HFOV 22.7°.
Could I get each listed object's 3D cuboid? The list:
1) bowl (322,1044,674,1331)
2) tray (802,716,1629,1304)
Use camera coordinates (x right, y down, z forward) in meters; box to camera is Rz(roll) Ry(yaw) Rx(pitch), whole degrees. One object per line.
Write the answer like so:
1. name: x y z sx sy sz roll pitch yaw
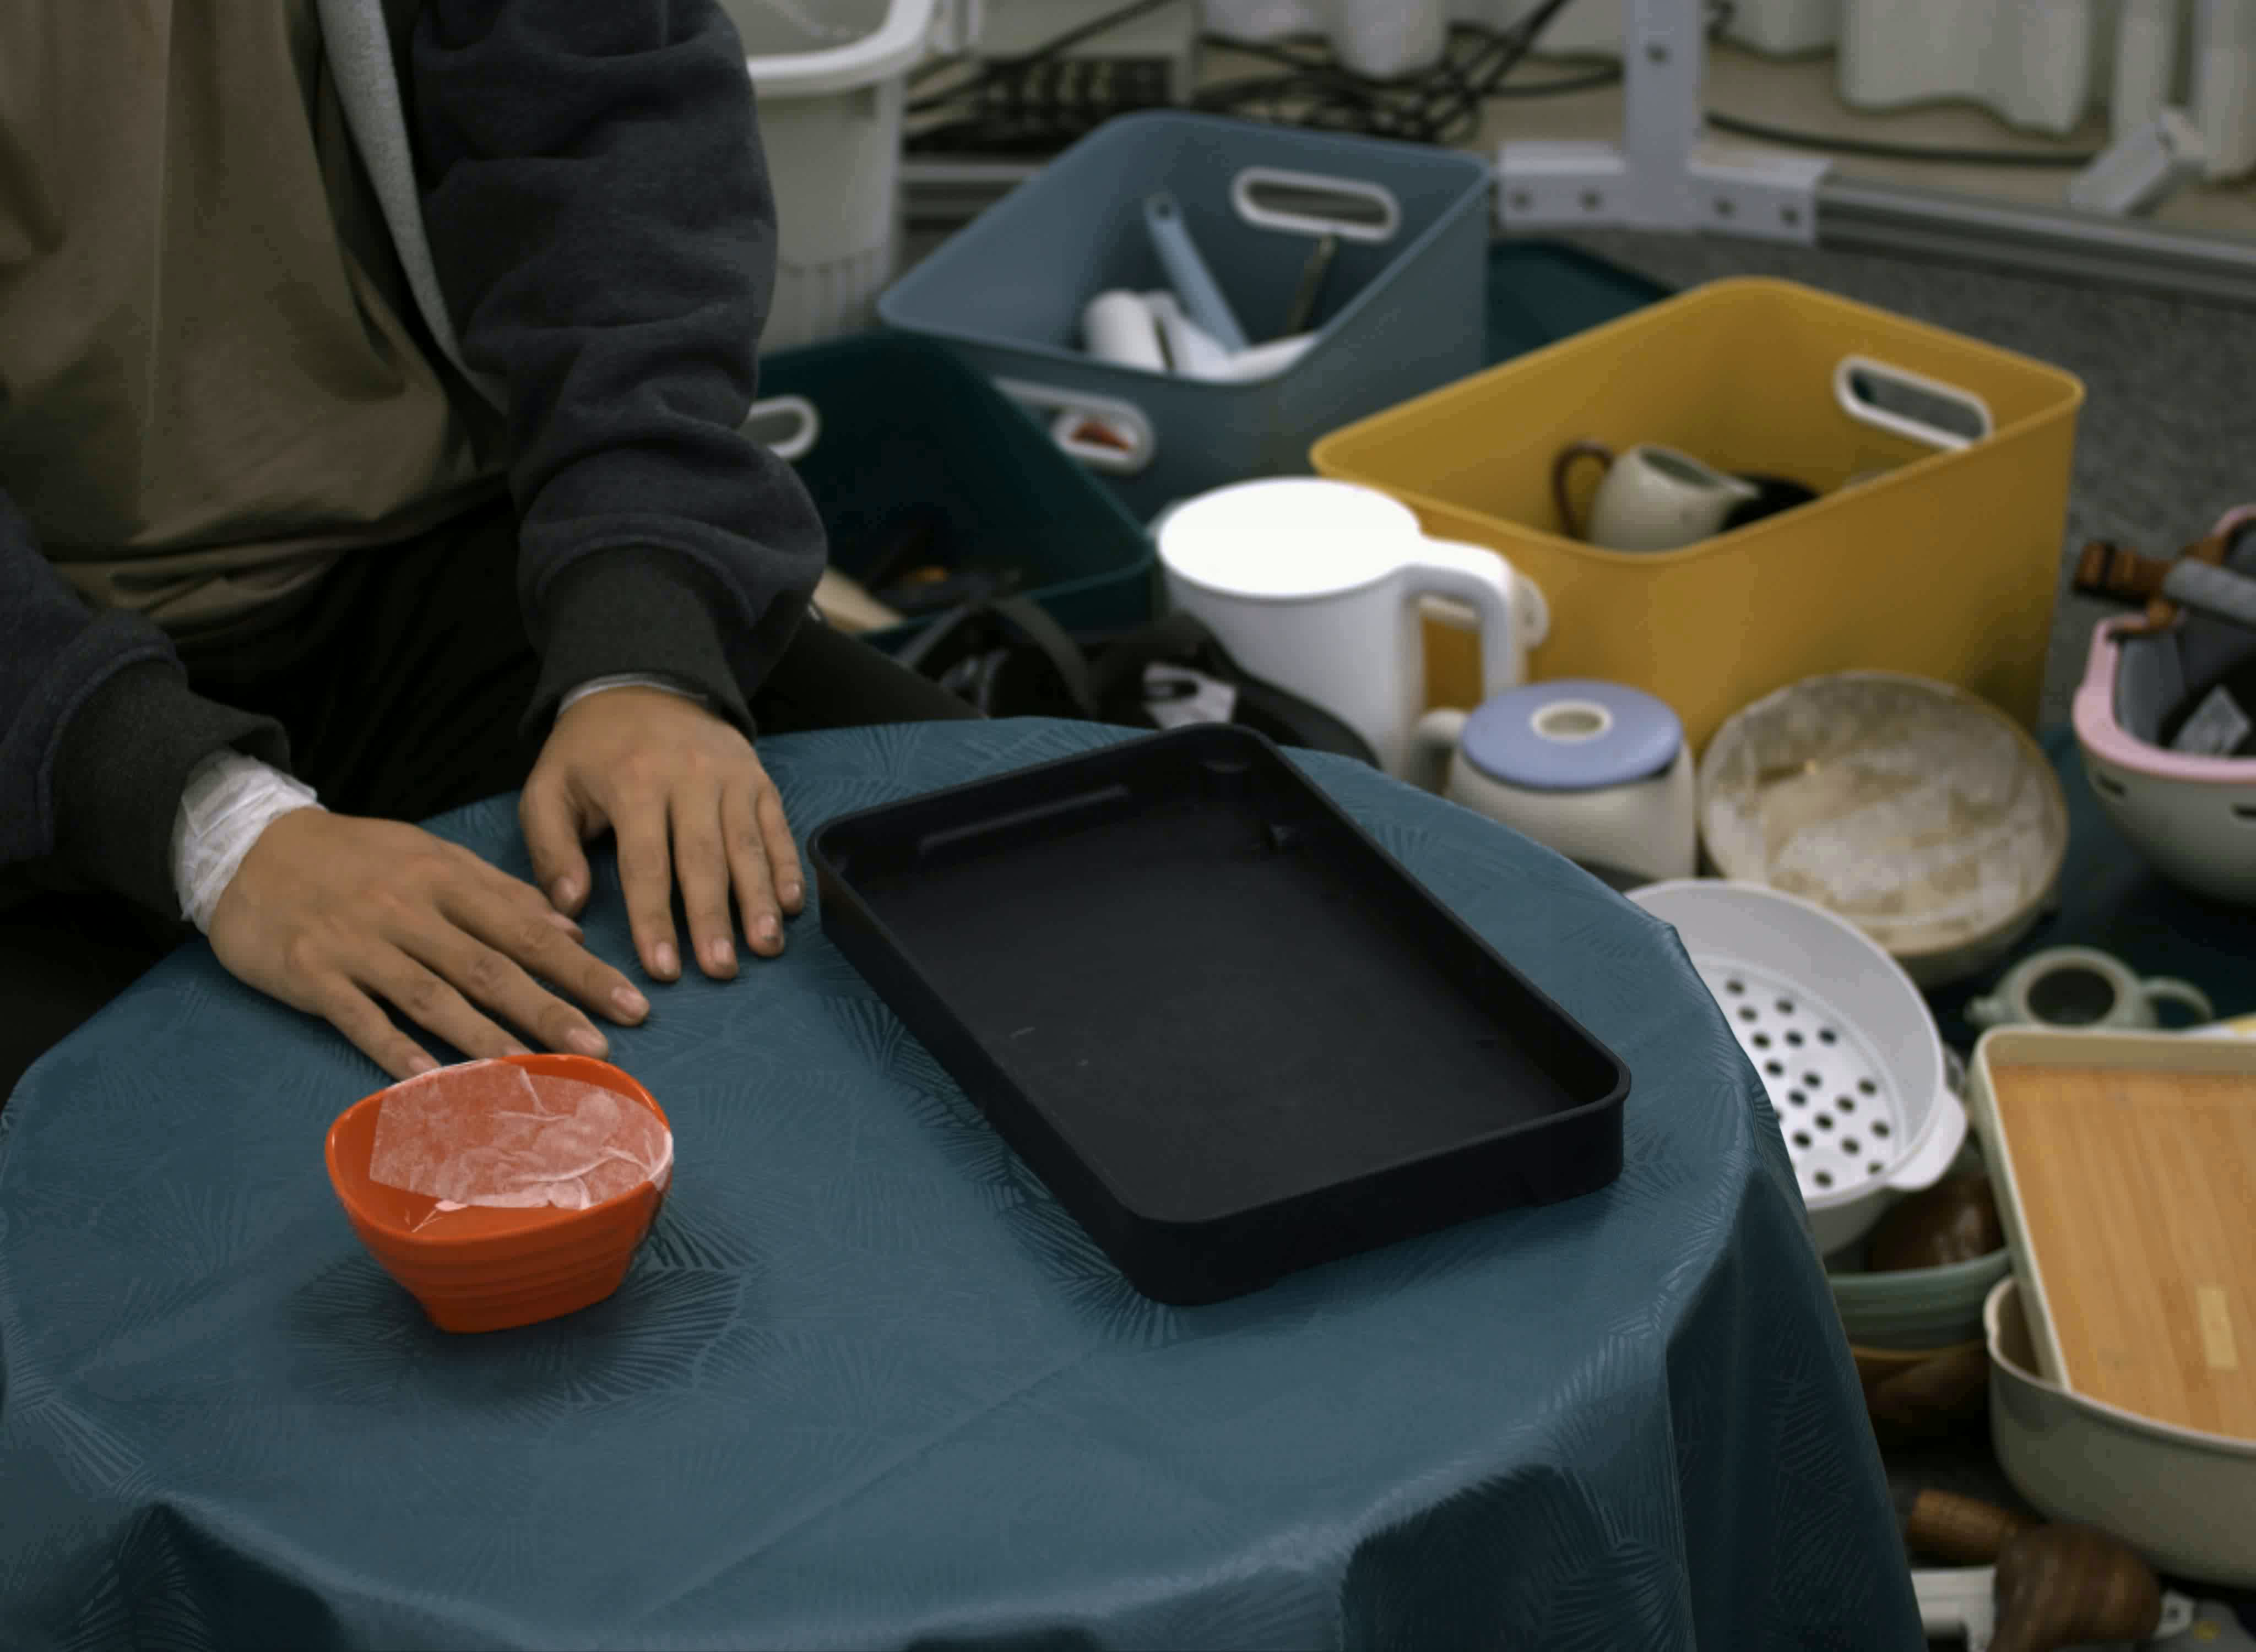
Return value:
1. bowl: -0.202 0.122 1.822 0.118 0.051 0.121 -2 29 2
2. tray: 0.024 0.057 1.944 0.185 0.036 0.320 -14 30 -20
